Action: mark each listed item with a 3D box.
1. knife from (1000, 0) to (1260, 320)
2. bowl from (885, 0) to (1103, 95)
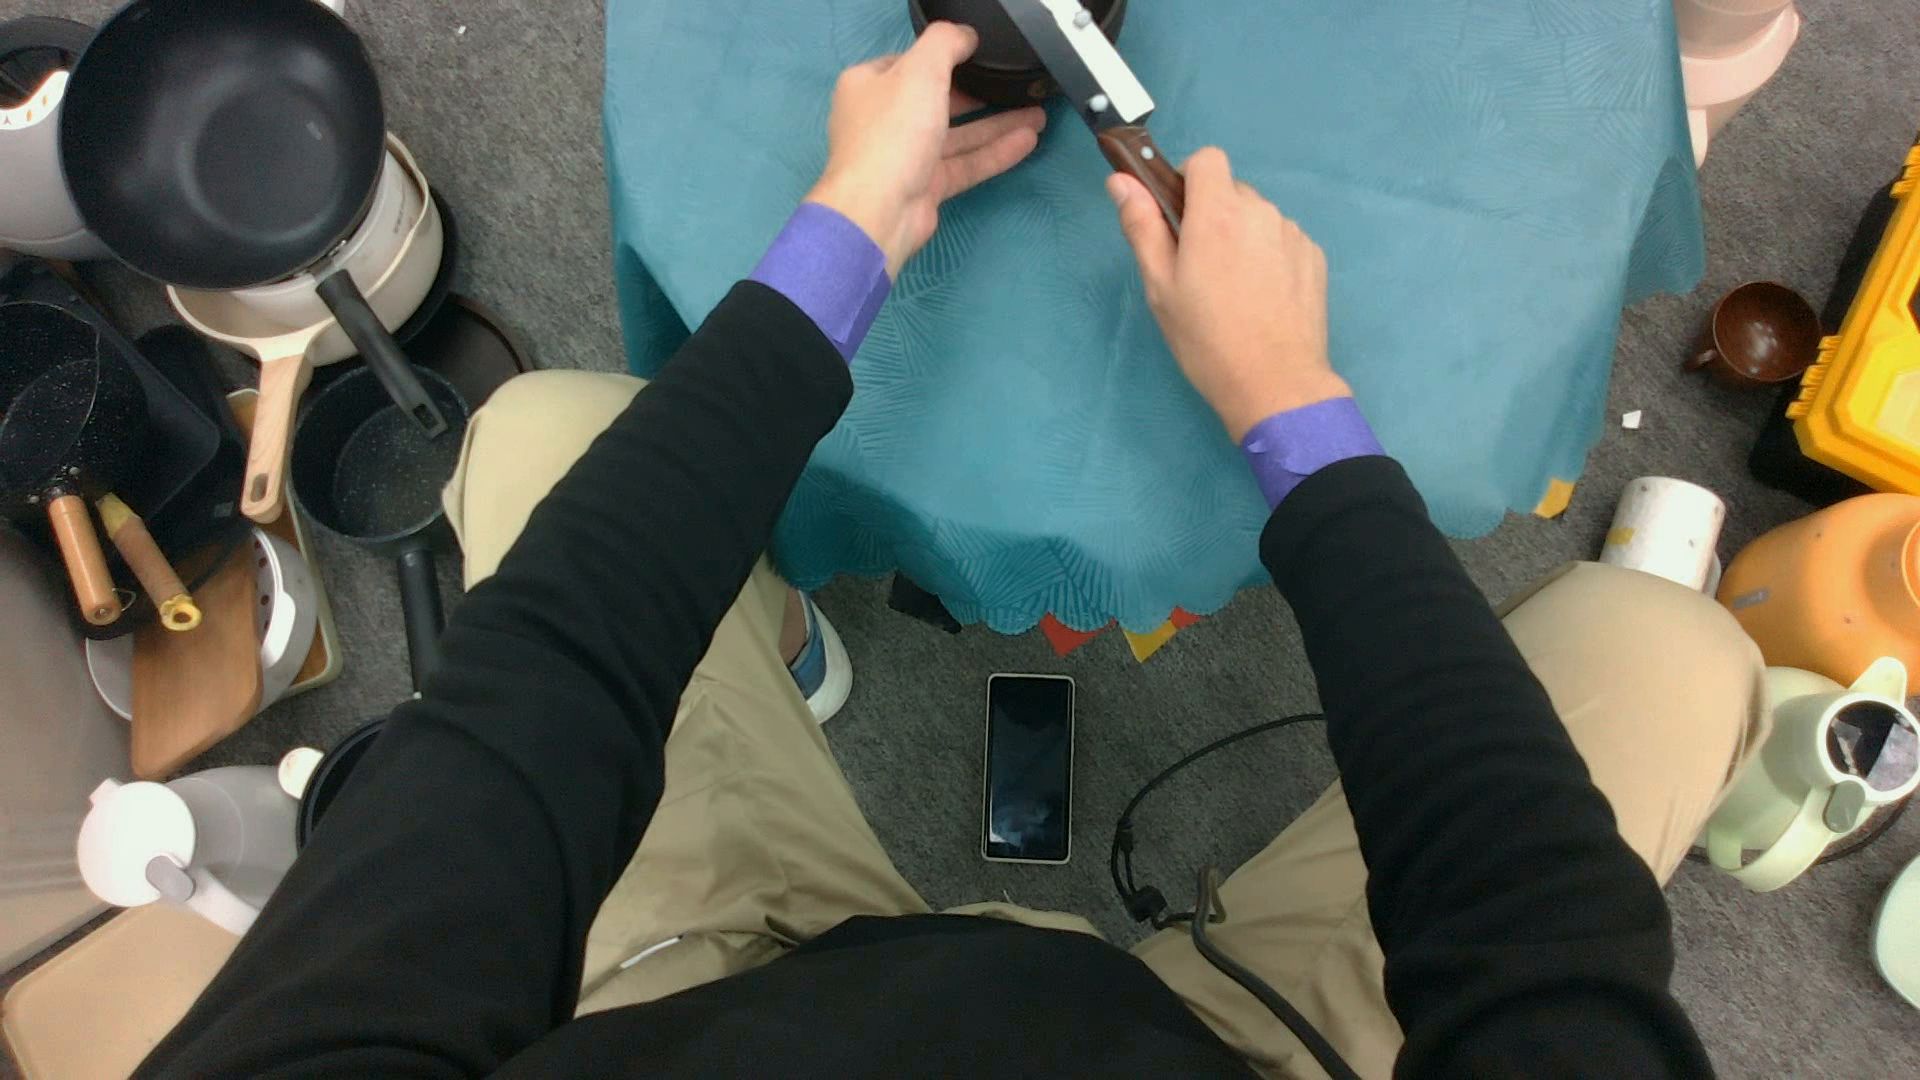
[{"bbox_3d":[0.066,-0.235,0.696,0.050,0.020,0.289,-35,92,-32],"label":"knife"},{"bbox_3d":[0.019,-0.295,0.746,0.118,0.070,0.118,0,79,2],"label":"bowl"}]
